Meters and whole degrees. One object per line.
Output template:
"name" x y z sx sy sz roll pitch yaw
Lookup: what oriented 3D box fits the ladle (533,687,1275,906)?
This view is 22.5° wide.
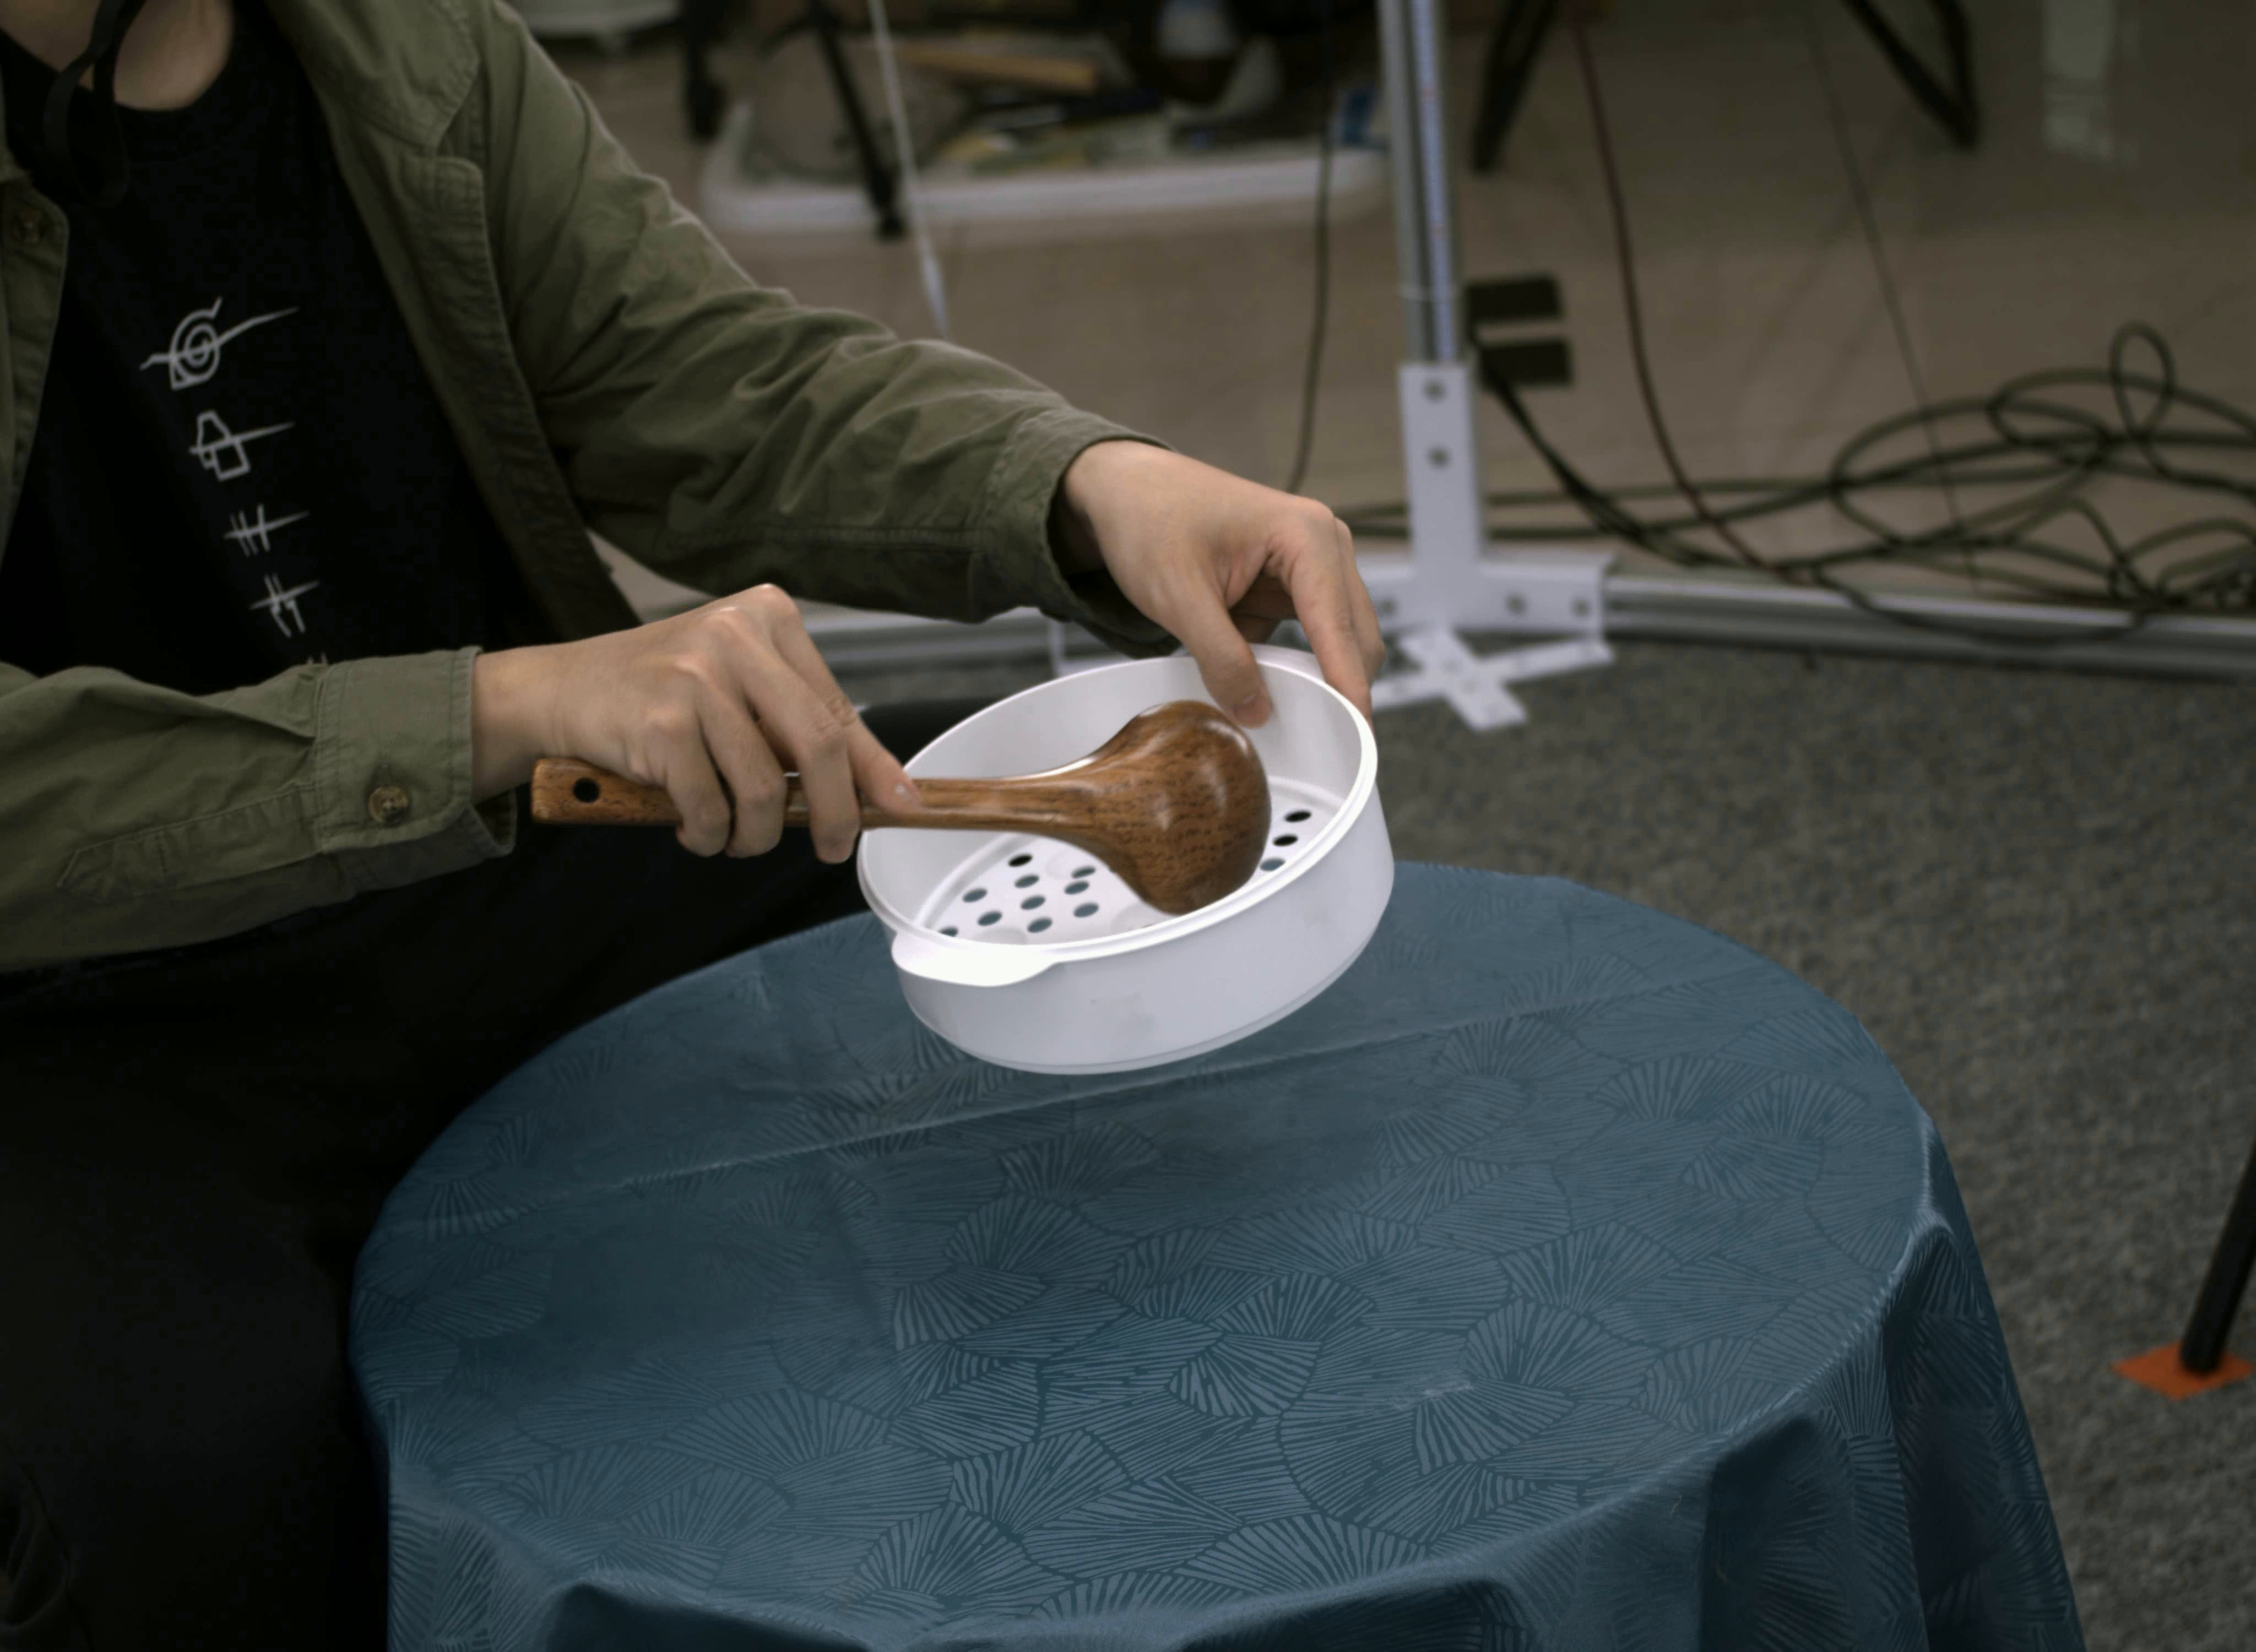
"ladle" -0.081 -0.013 2.102 0.273 0.082 0.077 1 -5 -1

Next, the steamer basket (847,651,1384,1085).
"steamer basket" -0.002 0.018 2.140 0.201 0.070 0.227 11 40 35
